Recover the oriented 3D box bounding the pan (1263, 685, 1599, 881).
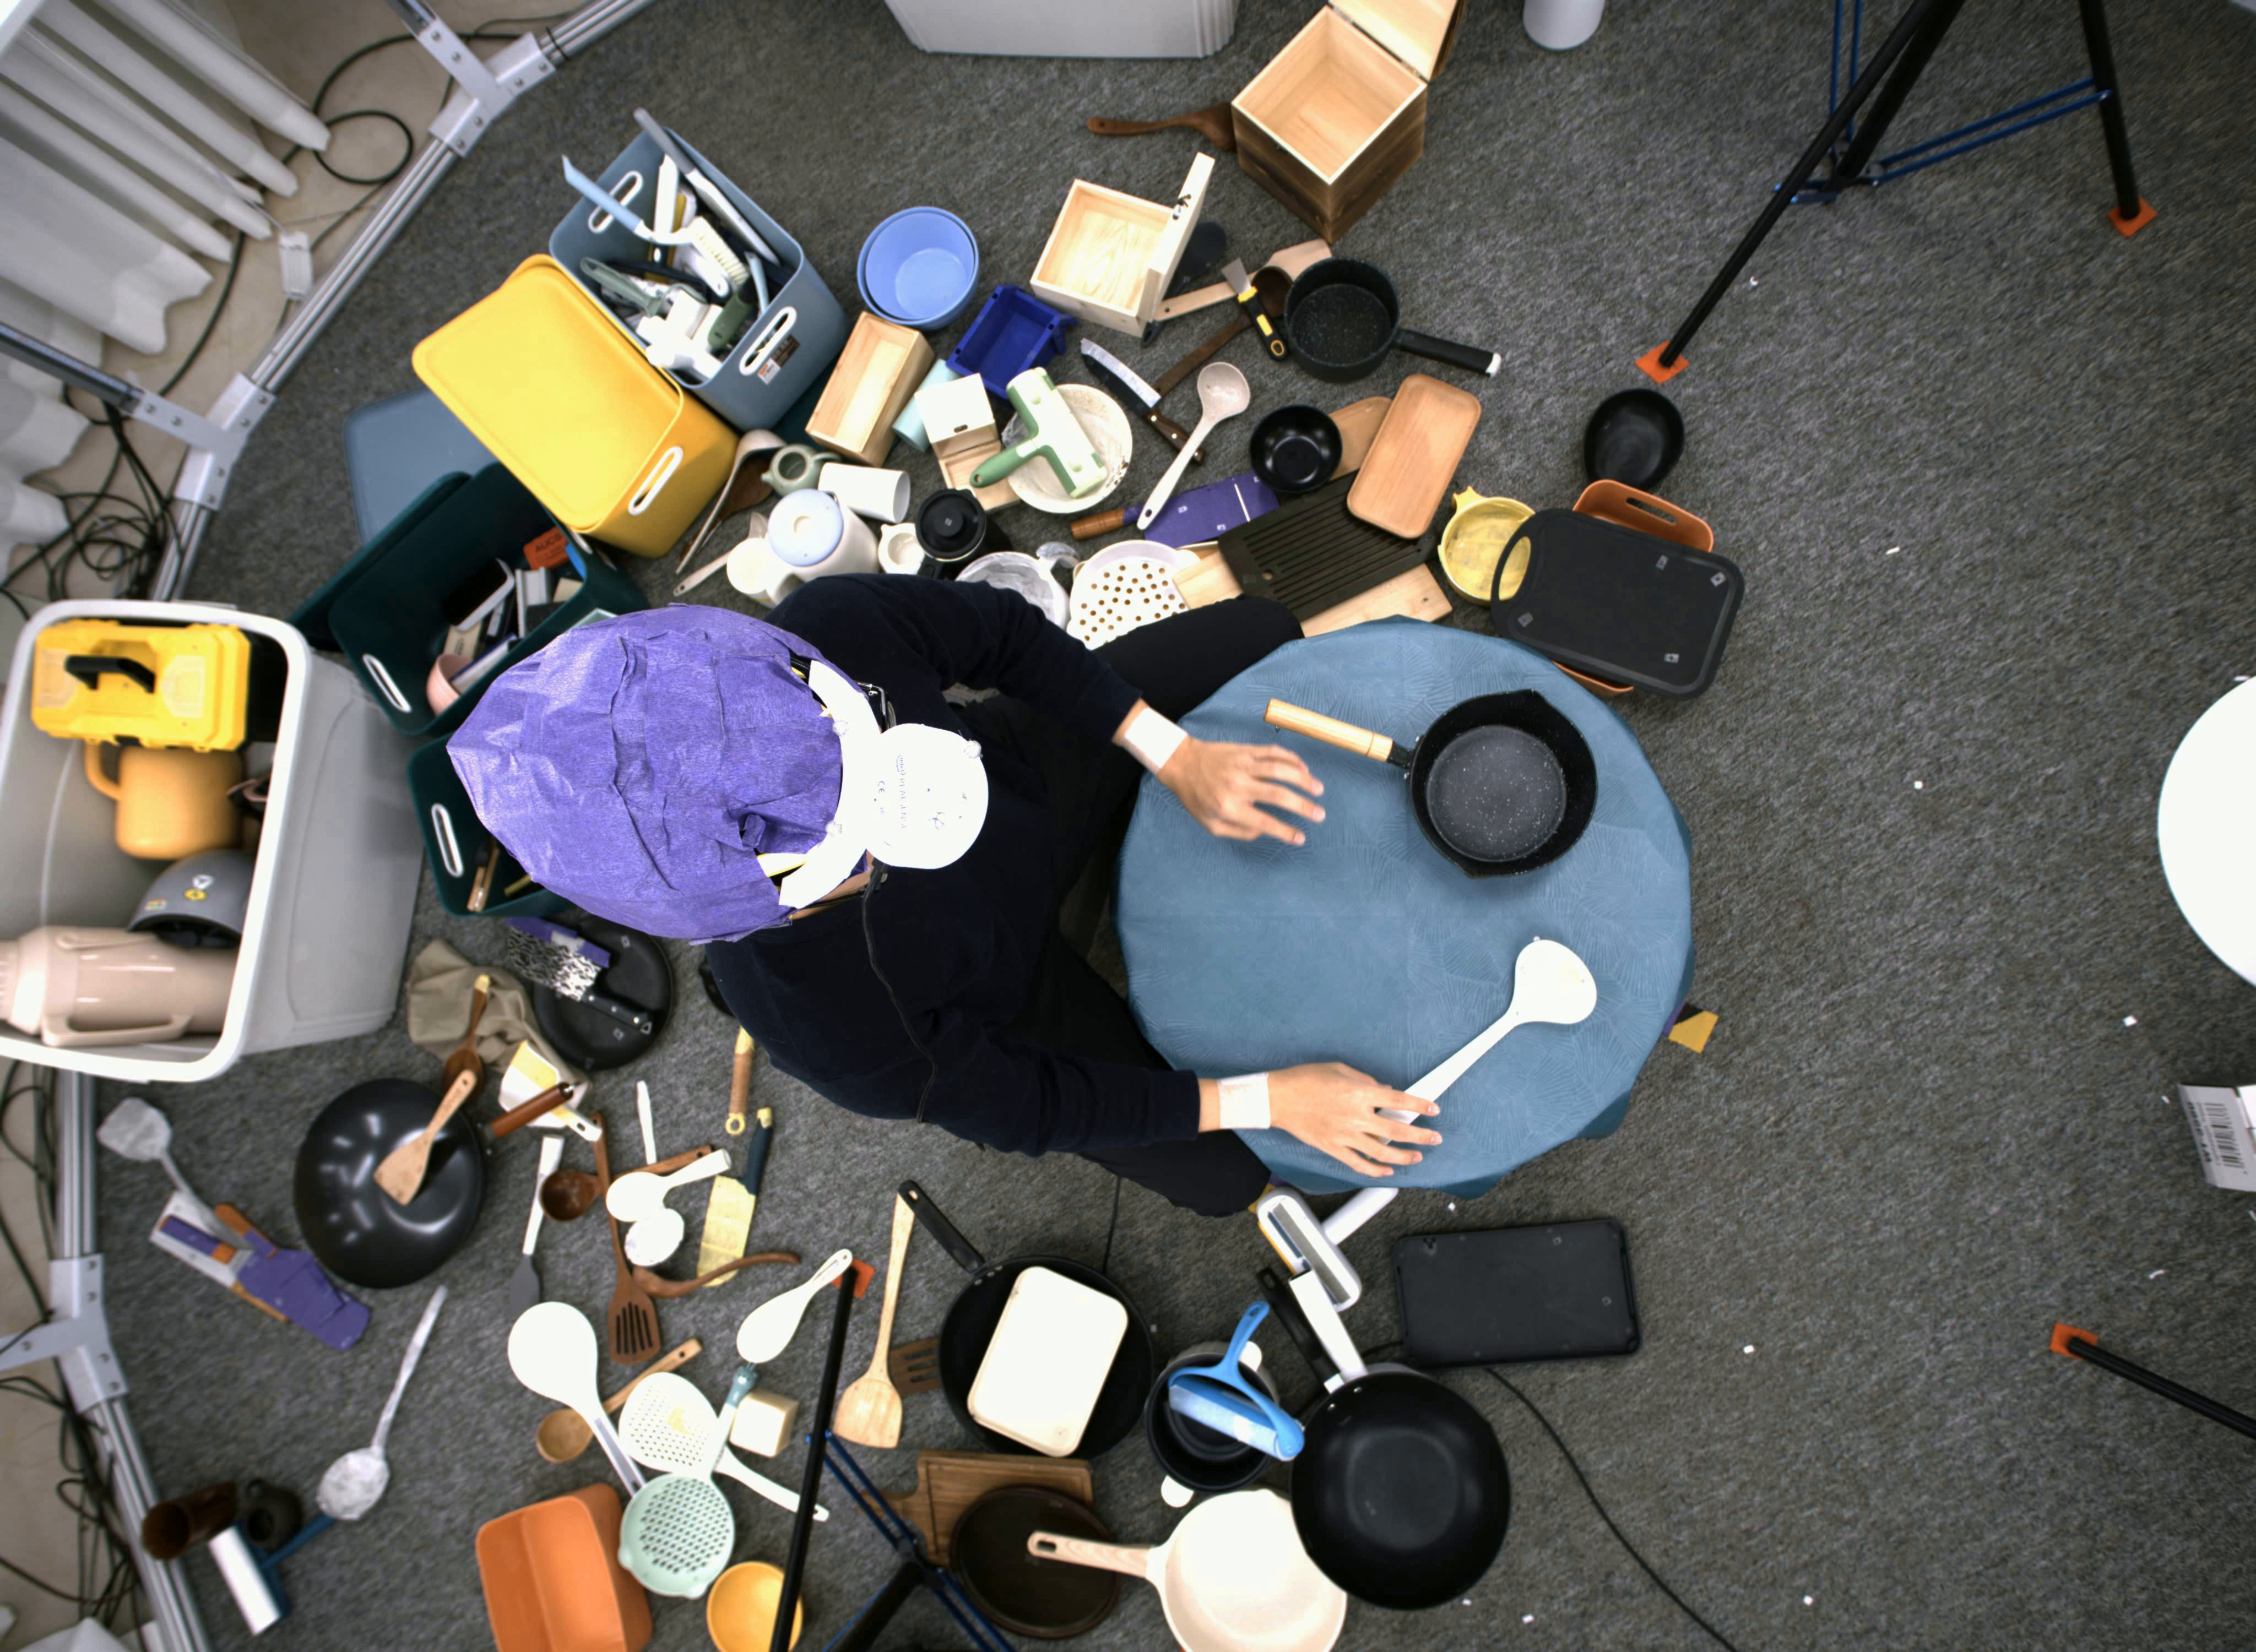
[{"bbox_3d":[0.303,-0.063,1.406,0.343,0.108,0.207,17,90,10],"label":"pan"}]

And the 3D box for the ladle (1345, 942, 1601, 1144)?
[{"bbox_3d":[0.346,0.226,1.406,0.294,0.070,0.089,-36,77,5],"label":"ladle"}]
